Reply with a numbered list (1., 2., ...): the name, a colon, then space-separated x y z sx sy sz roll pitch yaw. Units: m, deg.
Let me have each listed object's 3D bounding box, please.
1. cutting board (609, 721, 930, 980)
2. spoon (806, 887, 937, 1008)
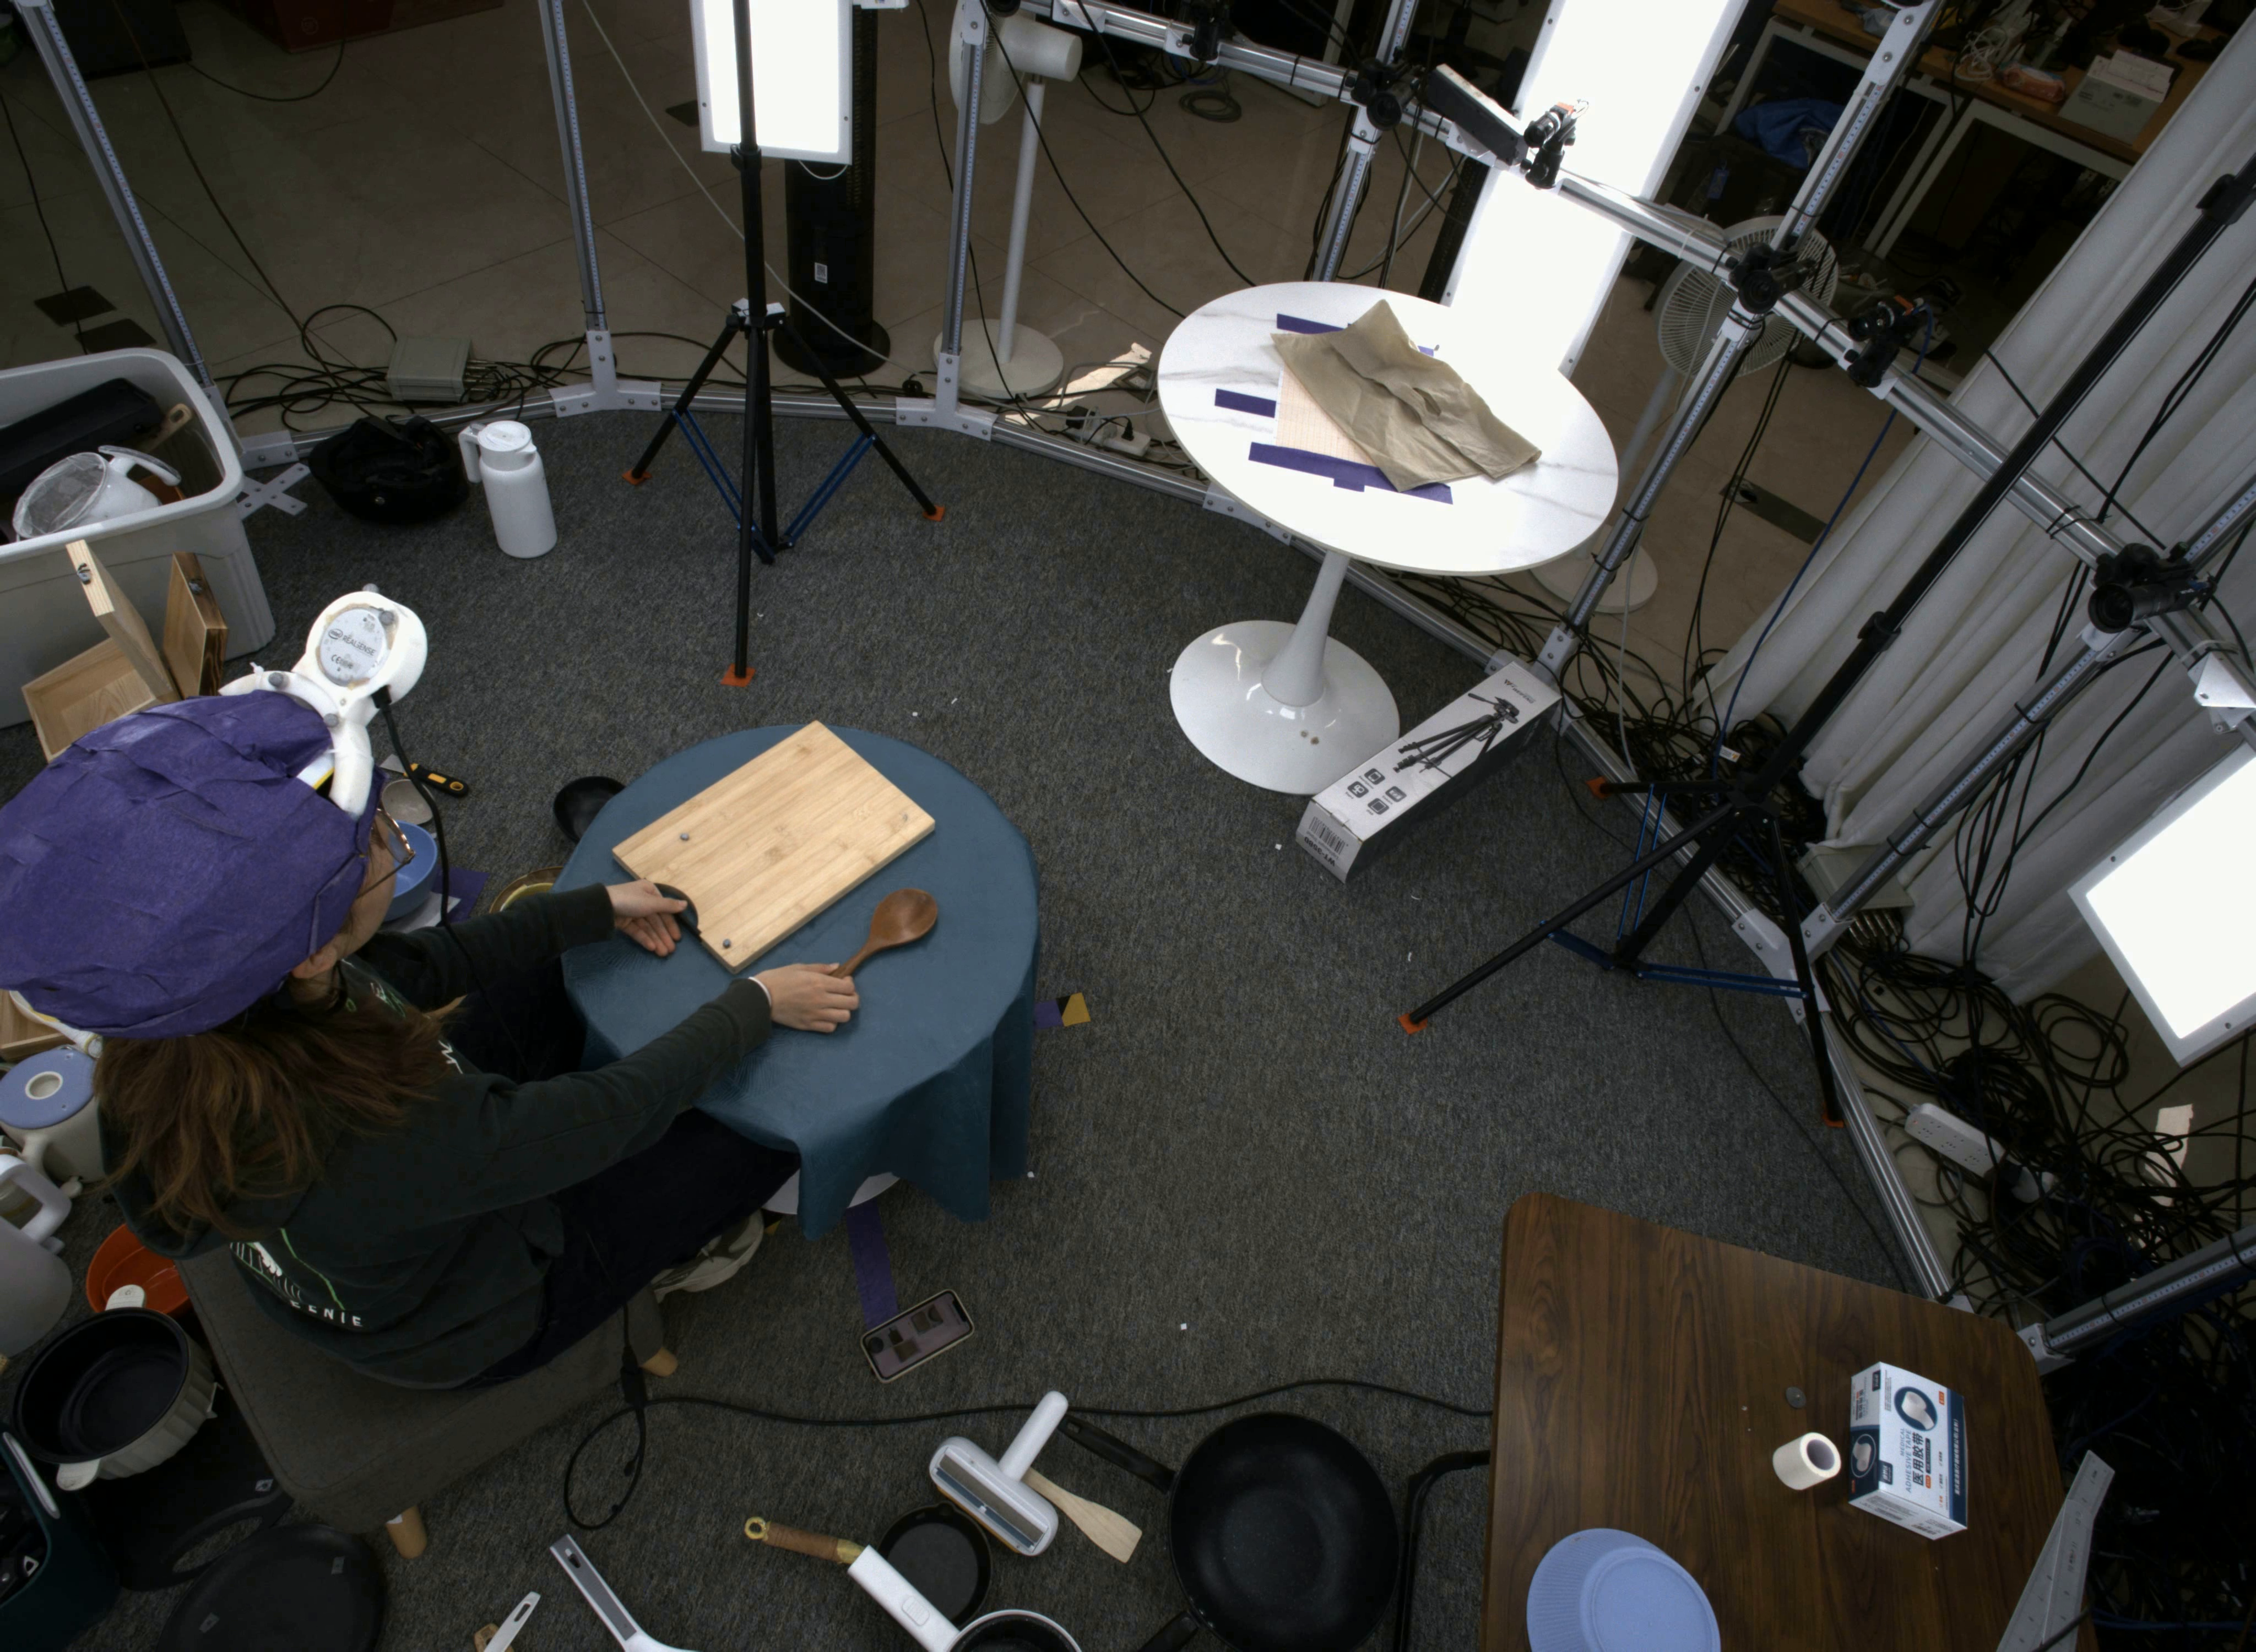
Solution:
1. cutting board: -0.463 0.020 1.694 0.245 0.024 0.349 38 54 15
2. spoon: -0.323 0.151 1.631 0.074 0.017 0.216 37 53 11
